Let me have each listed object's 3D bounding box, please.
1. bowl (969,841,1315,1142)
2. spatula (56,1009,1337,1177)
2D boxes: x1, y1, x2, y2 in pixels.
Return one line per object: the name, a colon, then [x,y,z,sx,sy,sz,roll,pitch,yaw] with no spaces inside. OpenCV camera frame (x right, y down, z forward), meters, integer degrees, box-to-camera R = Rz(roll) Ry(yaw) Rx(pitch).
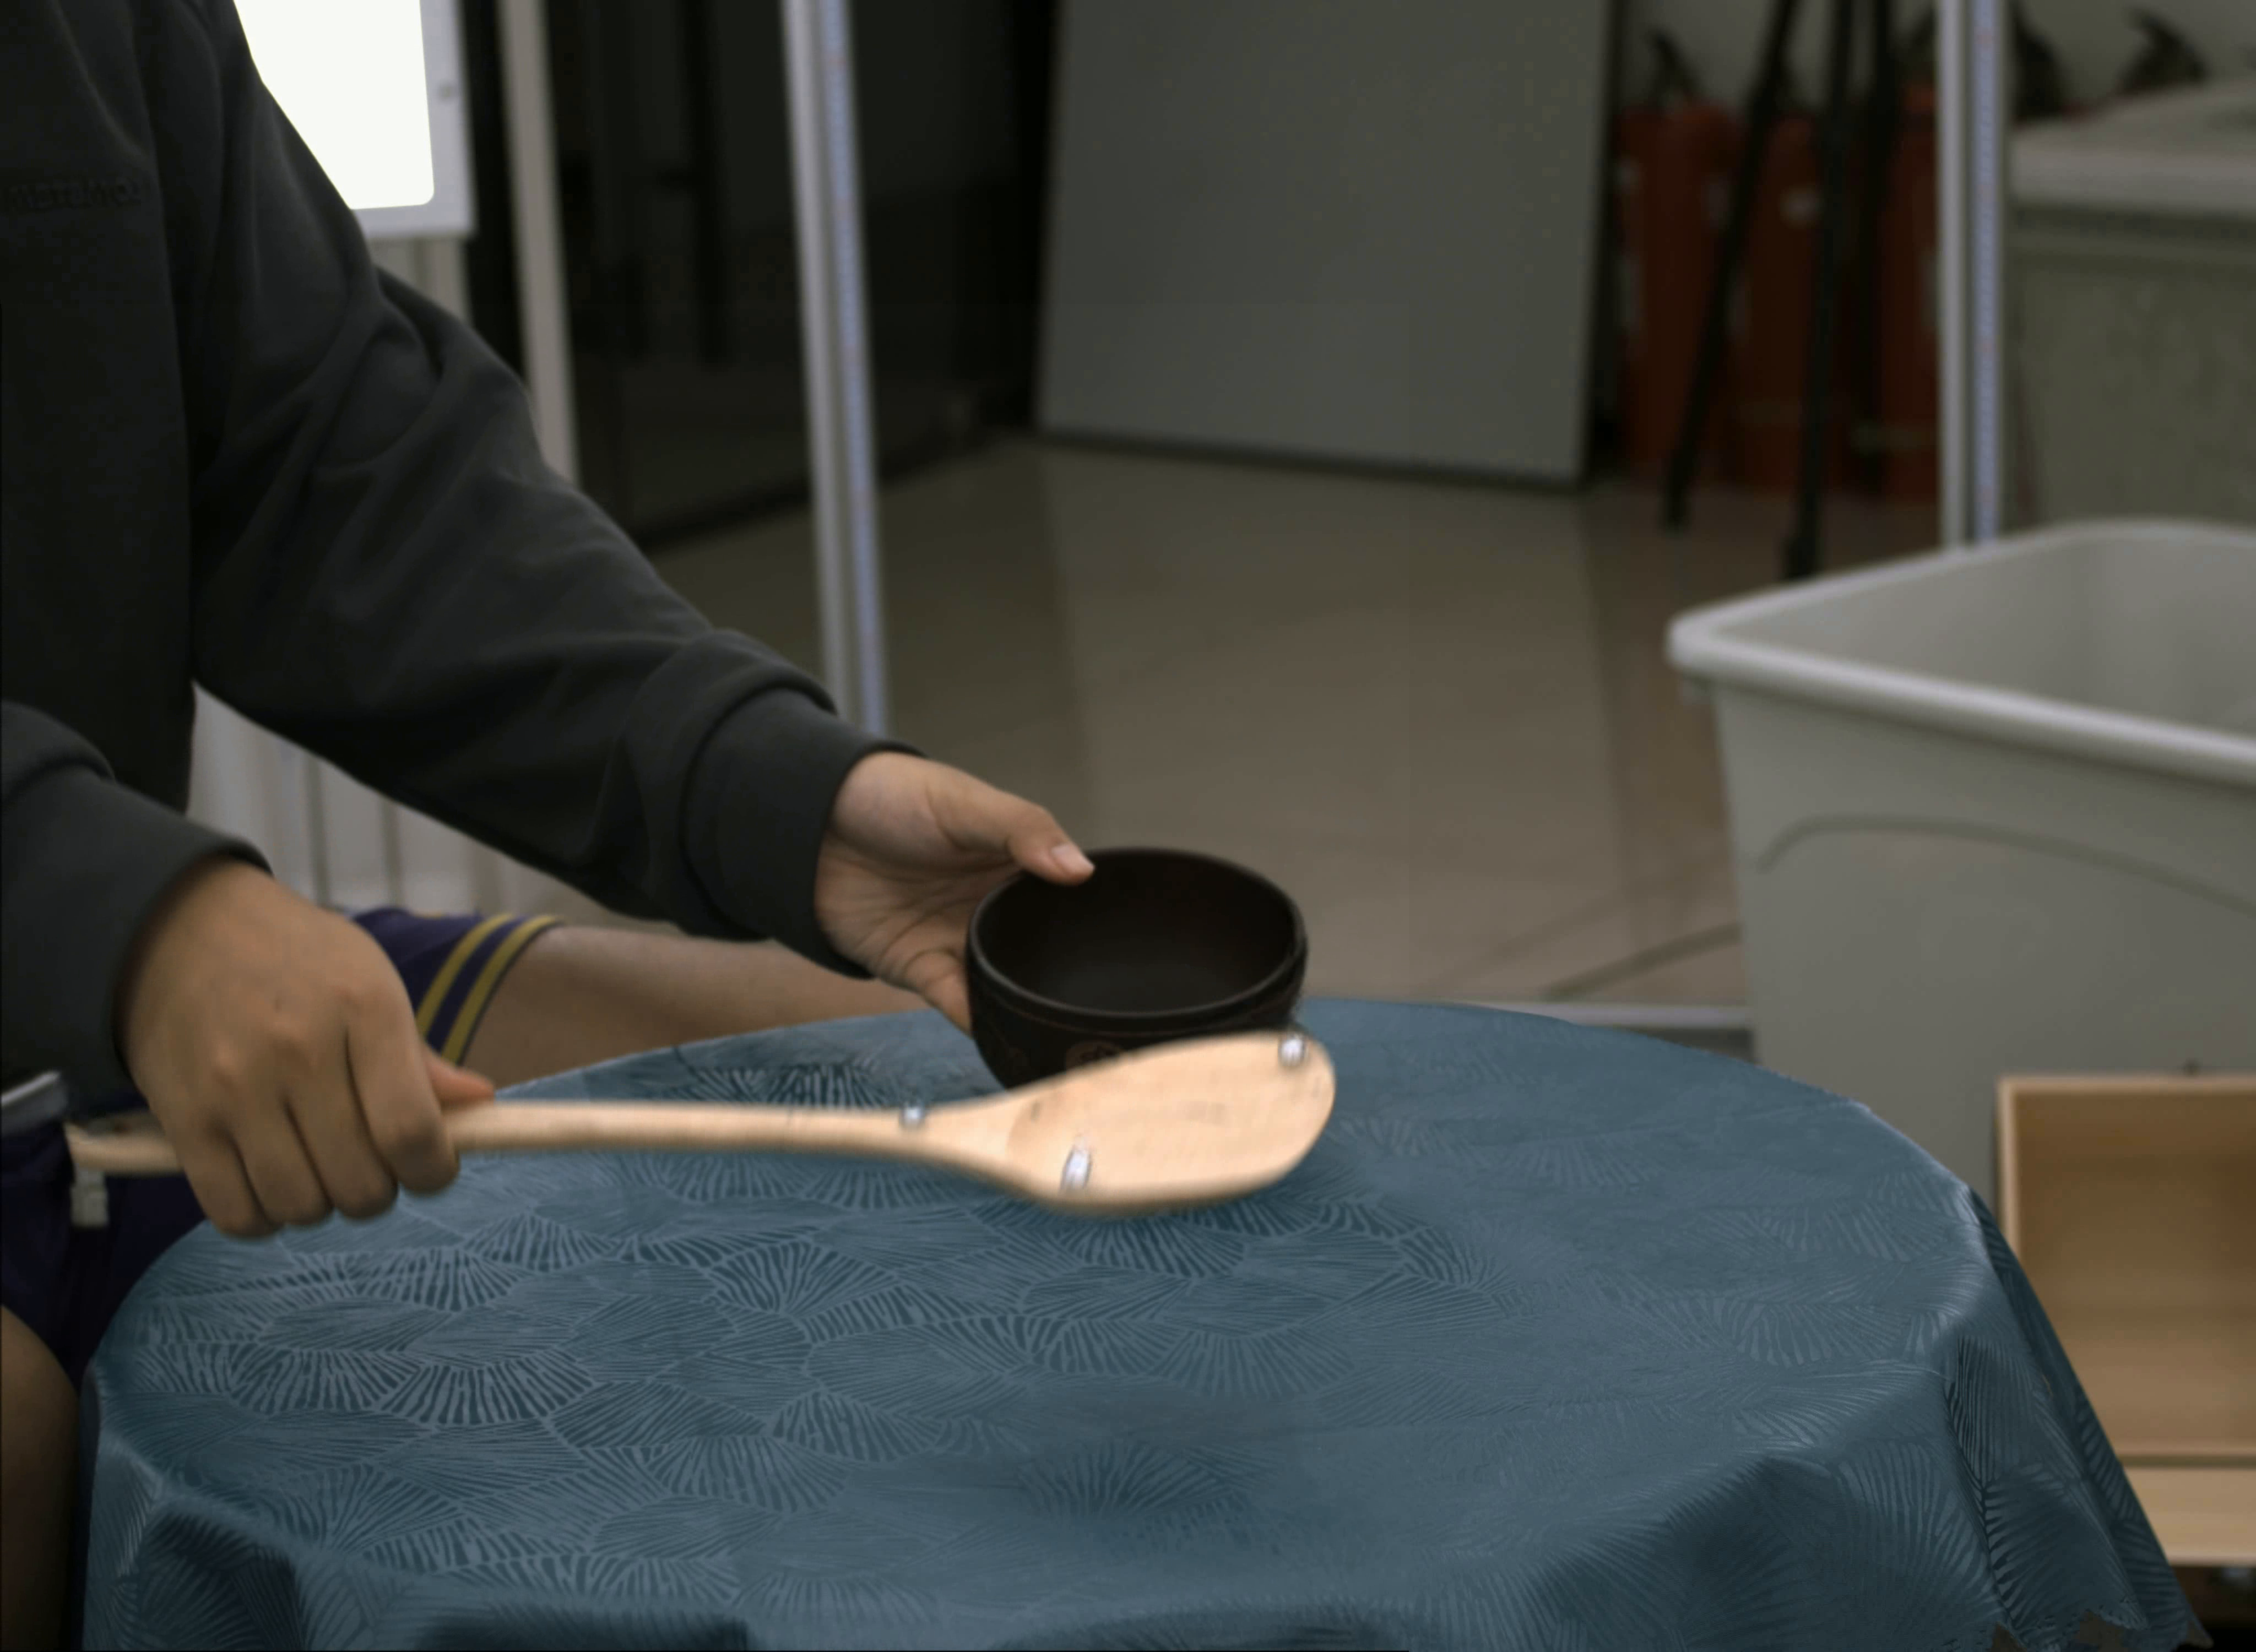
bowl: [0.005,0.062,1.813,0.116,0.070,0.118,-1,28,0]
spatula: [-0.130,0.082,1.564,0.388,0.018,0.095,-2,21,13]
